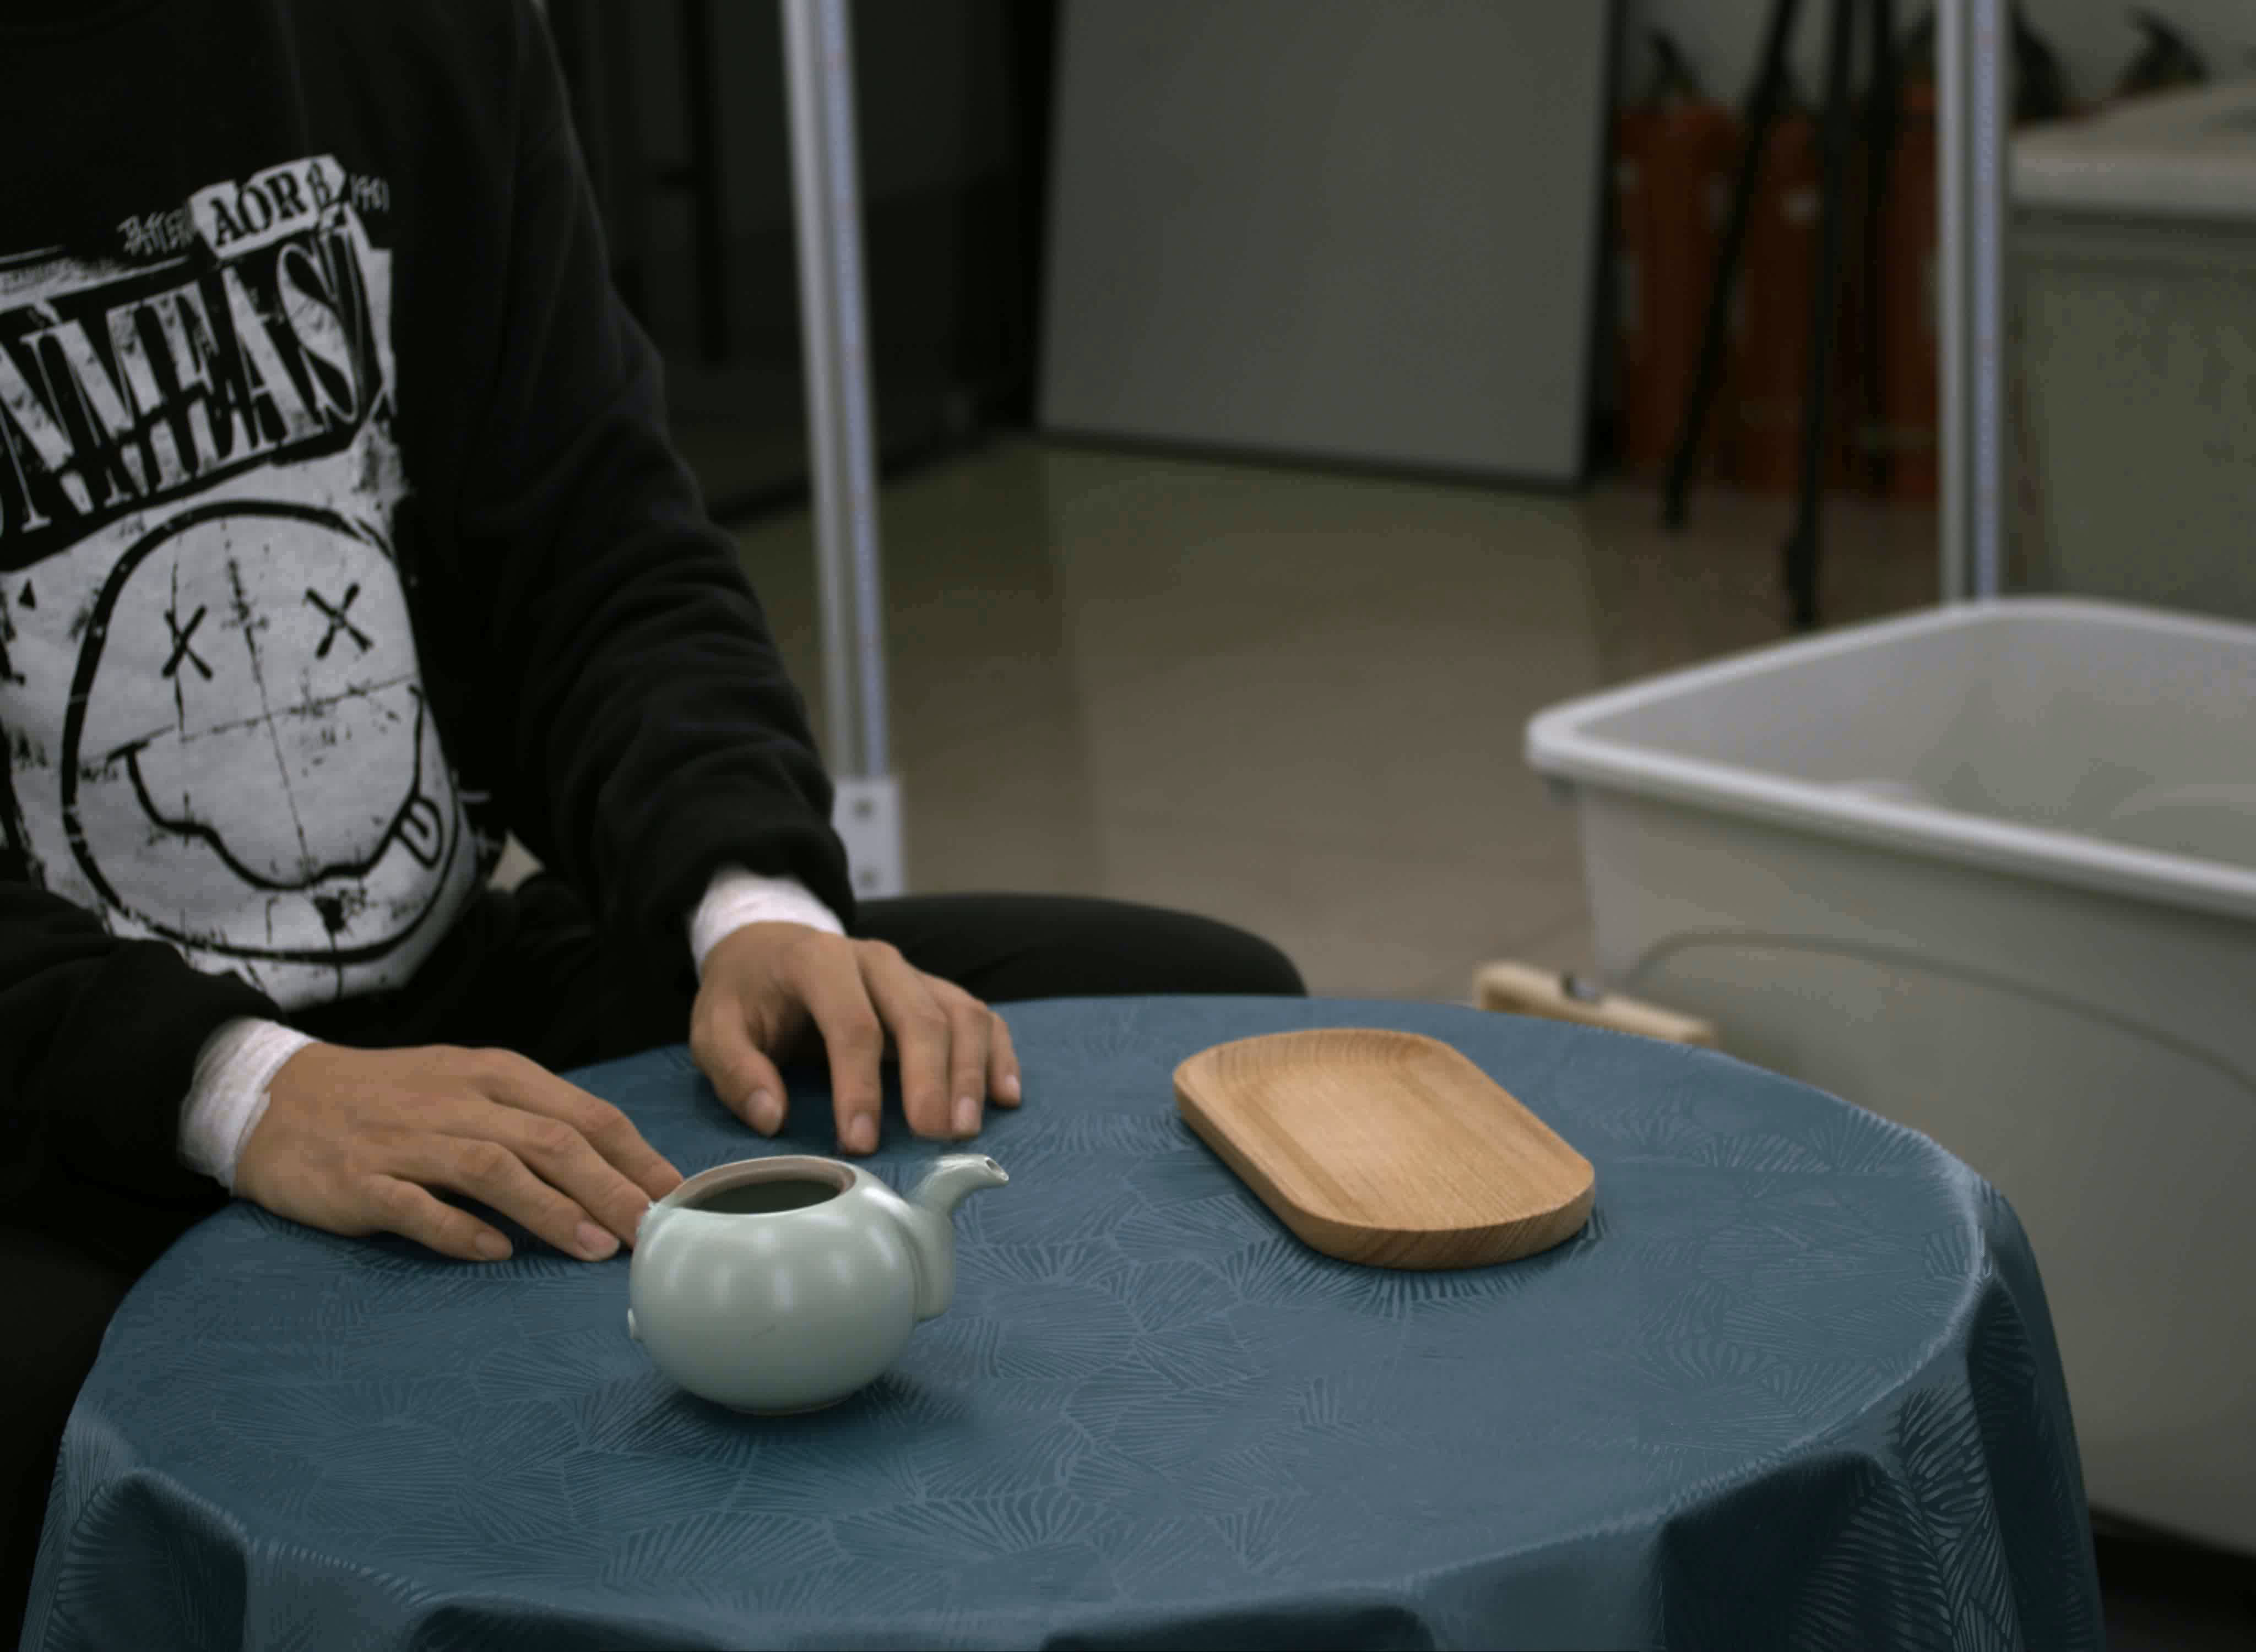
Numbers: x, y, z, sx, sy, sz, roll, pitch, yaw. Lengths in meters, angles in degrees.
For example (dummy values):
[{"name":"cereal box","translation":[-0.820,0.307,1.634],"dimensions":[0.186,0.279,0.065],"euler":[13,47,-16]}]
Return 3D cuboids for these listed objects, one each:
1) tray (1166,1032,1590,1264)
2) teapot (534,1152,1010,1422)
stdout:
[{"name":"tray","translation":[0.081,0.105,1.783],"dimensions":[0.100,0.020,0.233],"euler":[-6,12,-14]},{"name":"teapot","translation":[-0.104,0.135,1.601],"dimensions":[0.142,0.075,0.088],"euler":[-1,13,7]}]
